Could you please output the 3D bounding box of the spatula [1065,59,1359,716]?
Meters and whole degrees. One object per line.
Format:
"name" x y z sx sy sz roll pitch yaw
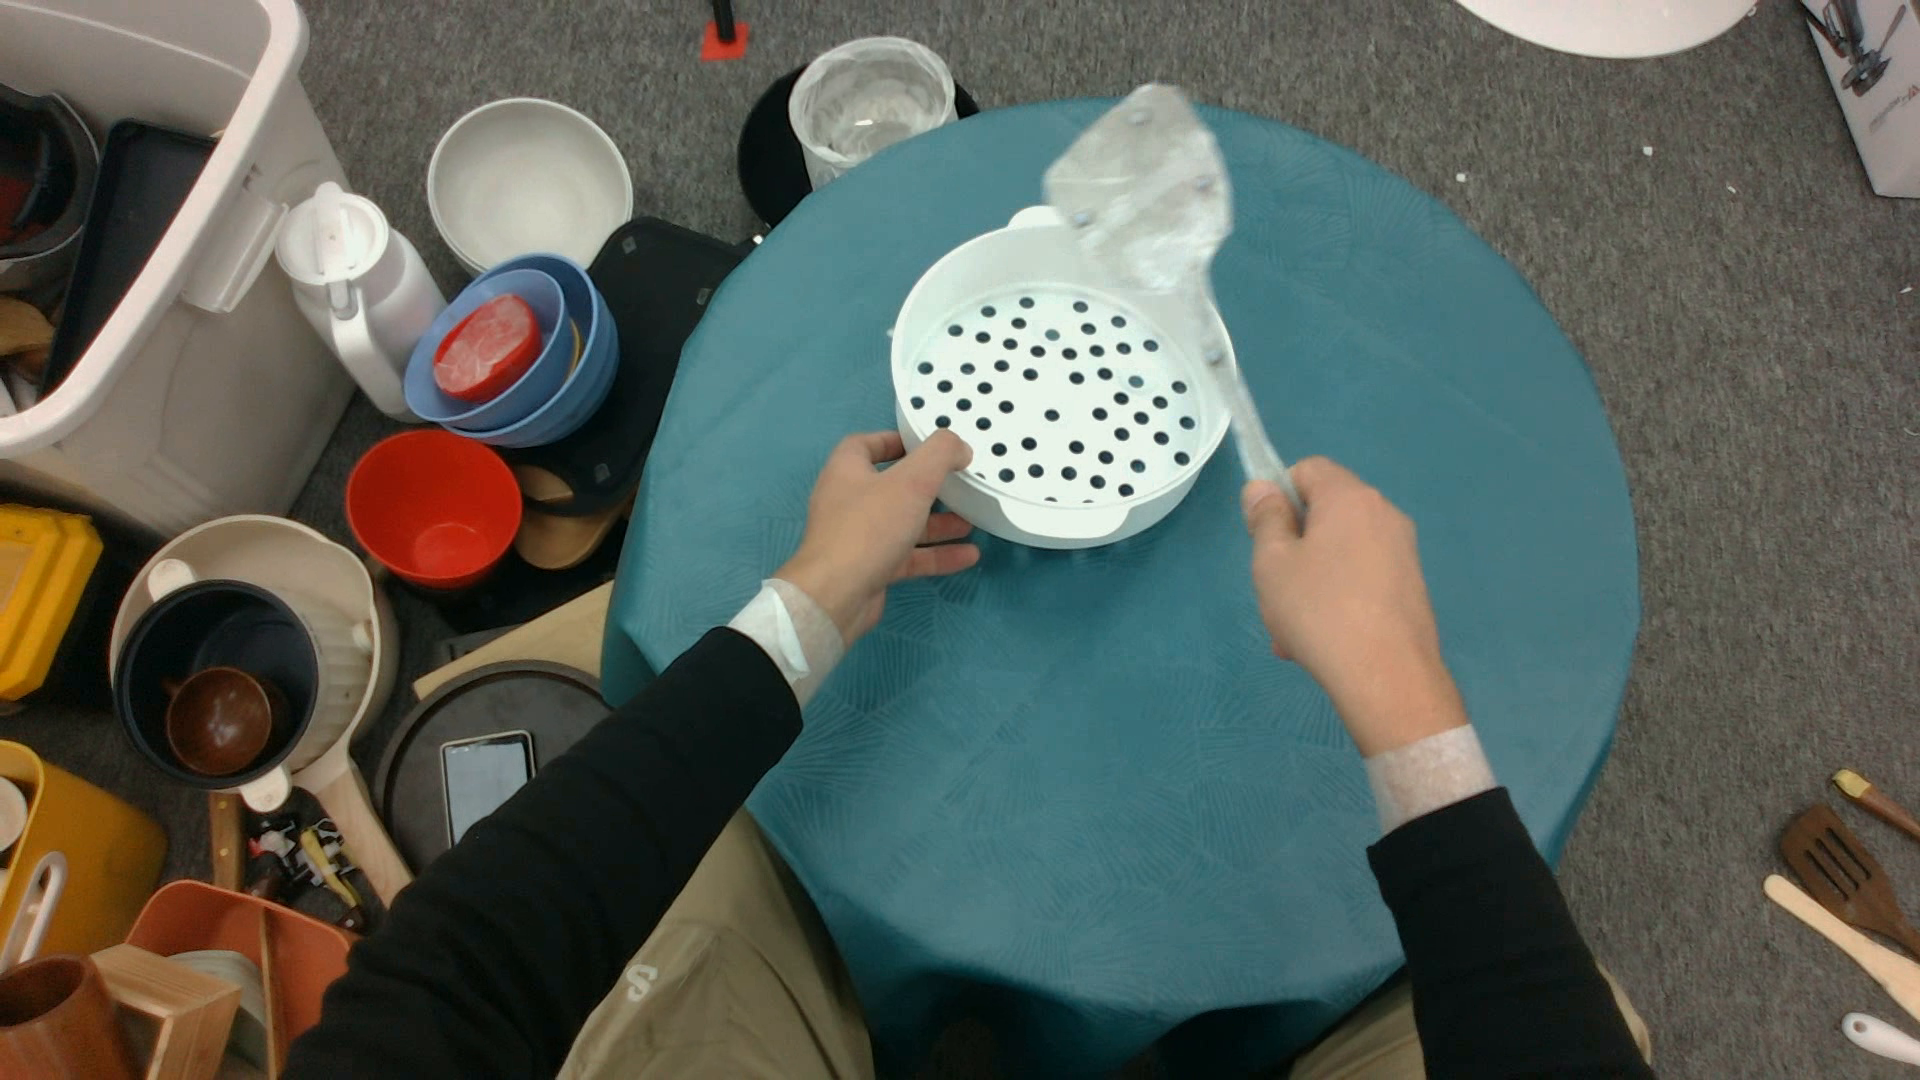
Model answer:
"spatula" 0.137 -0.087 0.700 0.098 0.045 0.366 -29 58 31

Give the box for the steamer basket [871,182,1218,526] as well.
"steamer basket" 0.048 -0.105 0.819 0.202 0.069 0.231 4 64 -3
